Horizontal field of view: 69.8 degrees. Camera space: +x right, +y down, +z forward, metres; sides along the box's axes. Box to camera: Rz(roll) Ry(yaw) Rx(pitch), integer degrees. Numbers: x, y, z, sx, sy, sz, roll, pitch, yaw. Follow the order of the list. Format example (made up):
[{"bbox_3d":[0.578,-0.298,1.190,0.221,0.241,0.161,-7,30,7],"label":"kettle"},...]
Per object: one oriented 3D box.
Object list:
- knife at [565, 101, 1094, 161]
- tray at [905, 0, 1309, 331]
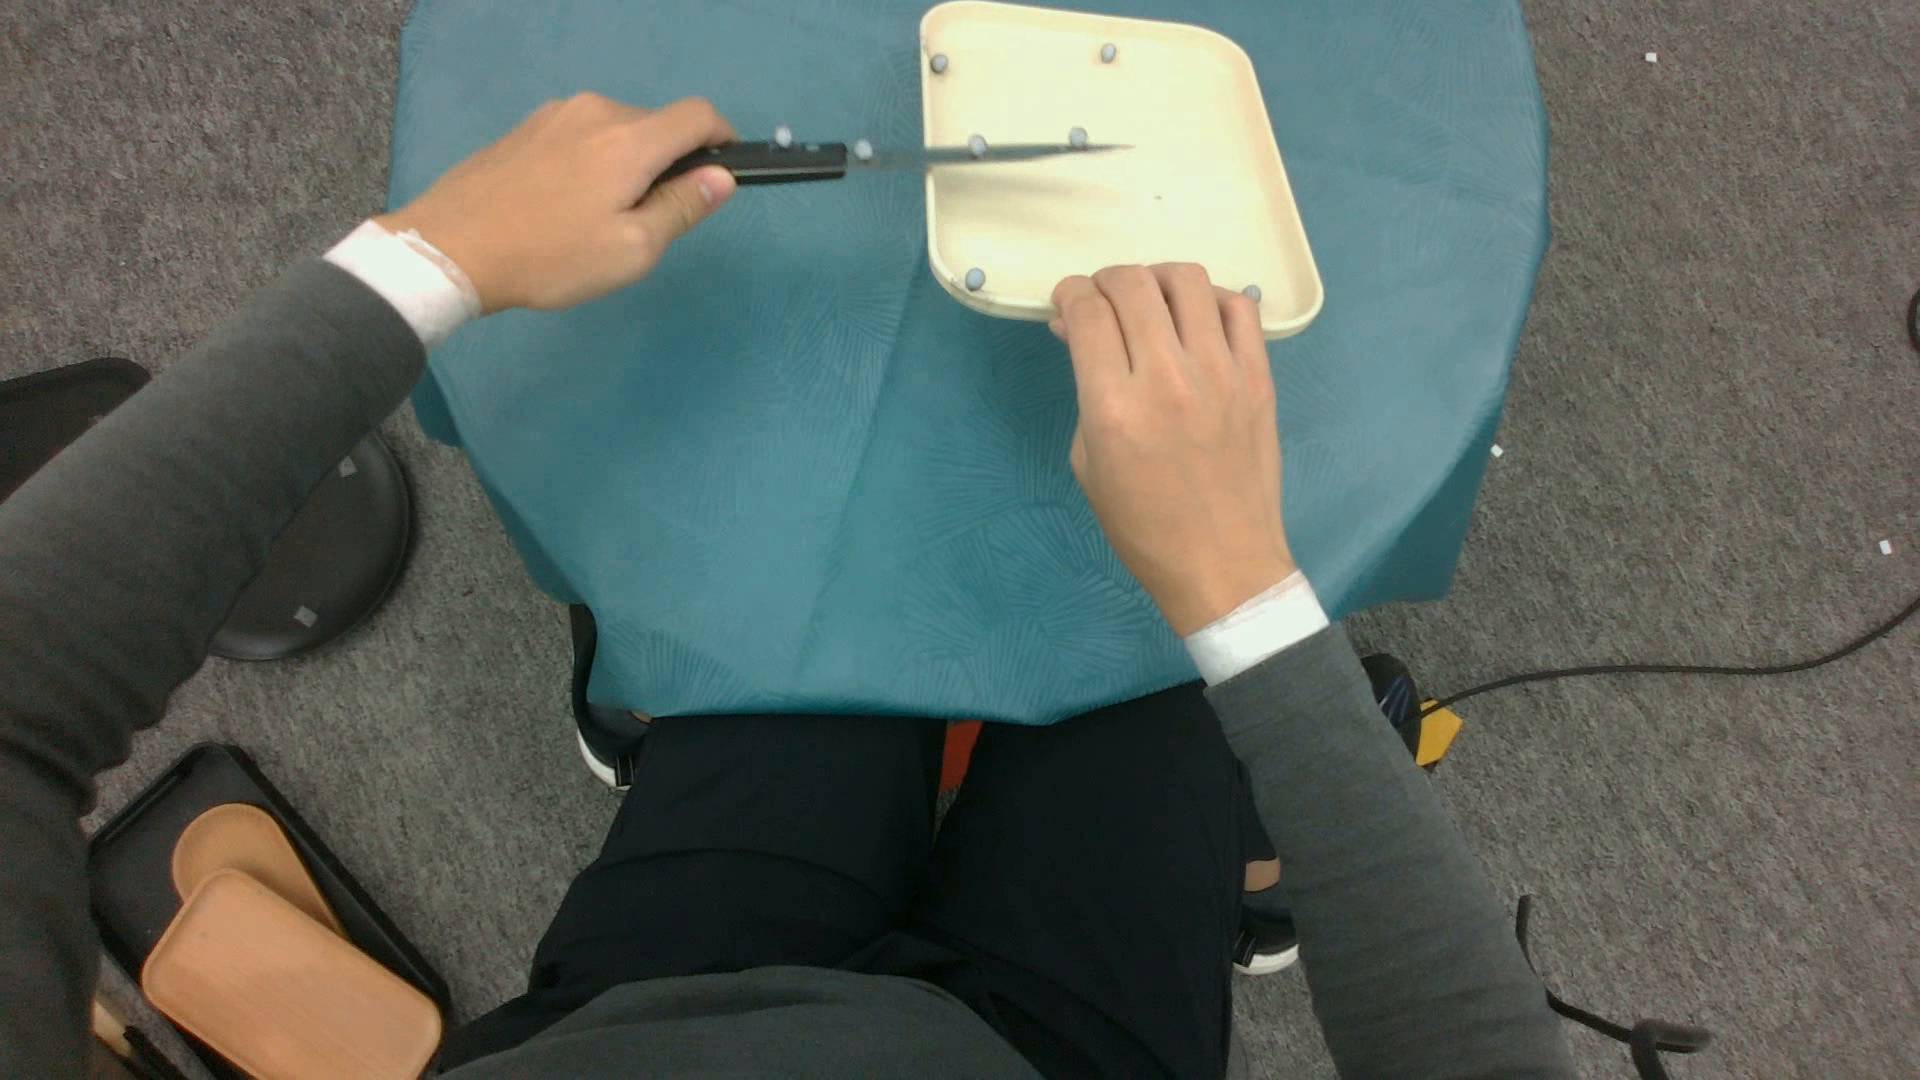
[{"bbox_3d":[-0.056,-0.185,0.616,0.238,0.016,0.024,-5,46,-5],"label":"knife"},{"bbox_3d":[0.060,-0.180,0.641,0.171,0.017,0.241,4,48,-9],"label":"tray"}]
